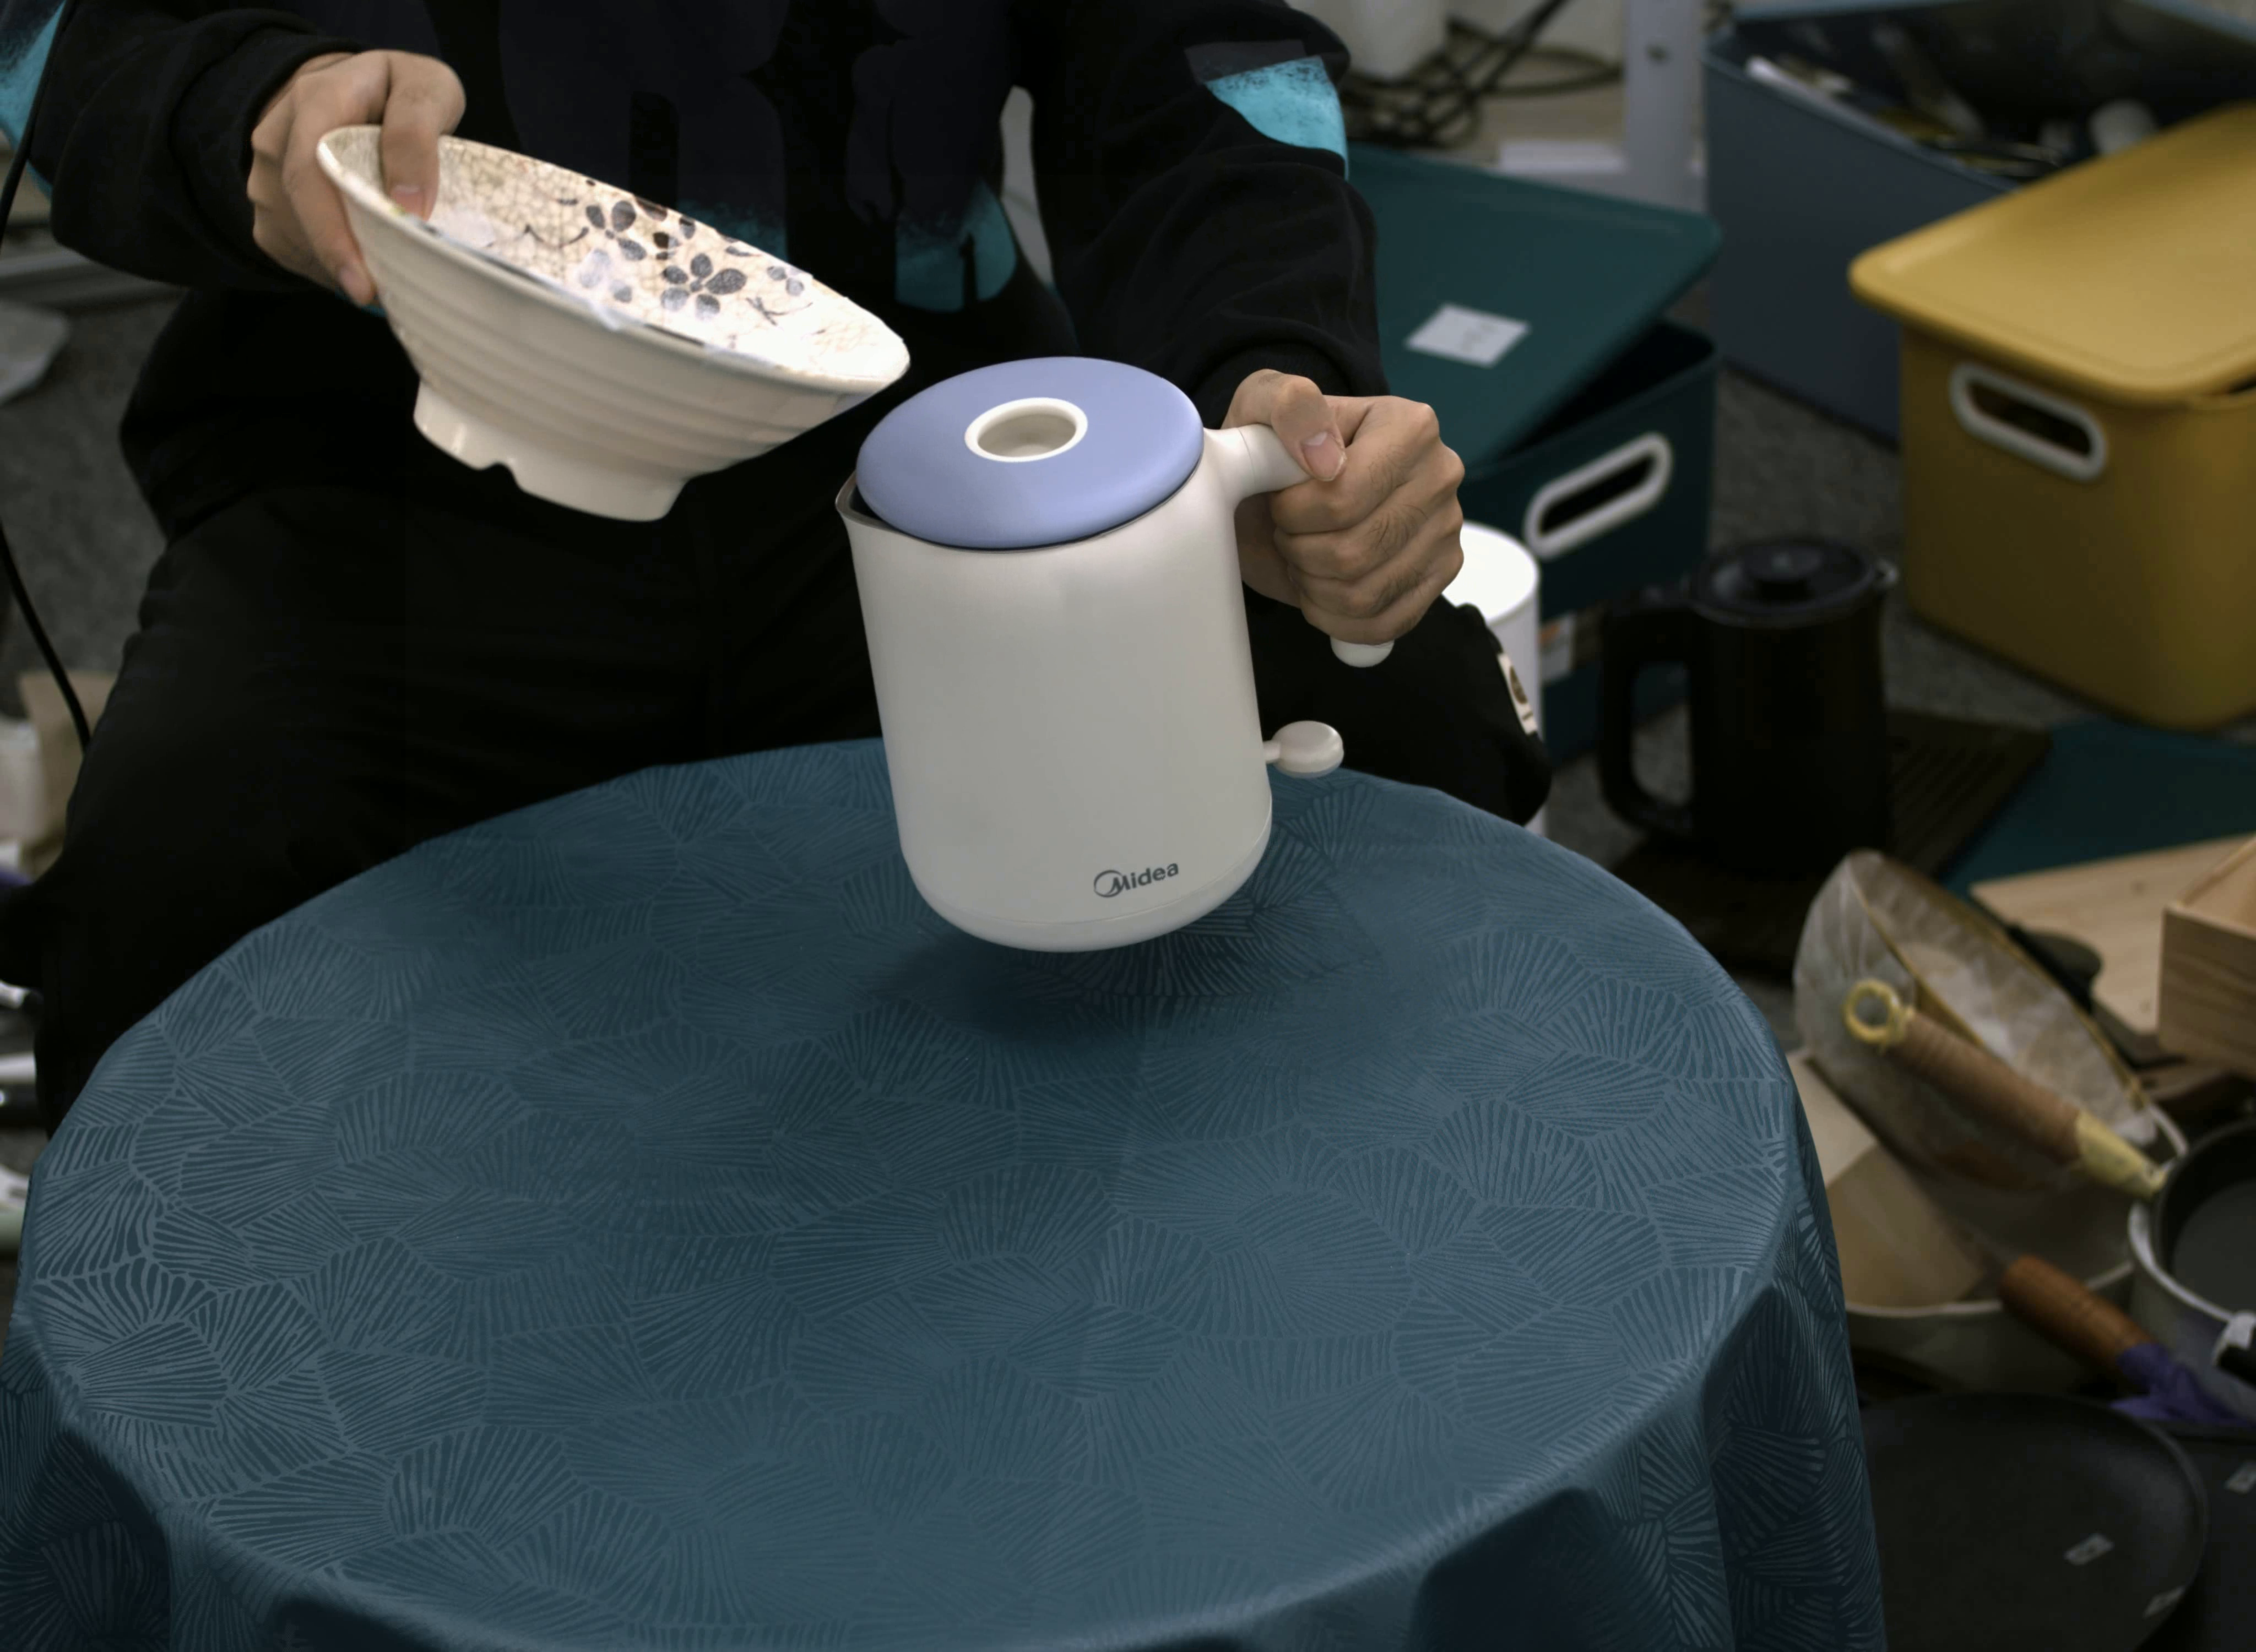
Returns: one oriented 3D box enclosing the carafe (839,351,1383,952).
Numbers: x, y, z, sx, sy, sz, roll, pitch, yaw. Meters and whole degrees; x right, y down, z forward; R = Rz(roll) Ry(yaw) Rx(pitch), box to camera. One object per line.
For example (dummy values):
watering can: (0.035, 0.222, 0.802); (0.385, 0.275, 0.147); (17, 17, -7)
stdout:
carafe: (-0.001, -0.066, 1.943); (0.191, 0.180, 0.133); (-14, 34, -15)

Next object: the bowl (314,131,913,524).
bowl: (-0.176, -0.149, 1.808); (0.203, 0.077, 0.205); (21, 11, -4)
